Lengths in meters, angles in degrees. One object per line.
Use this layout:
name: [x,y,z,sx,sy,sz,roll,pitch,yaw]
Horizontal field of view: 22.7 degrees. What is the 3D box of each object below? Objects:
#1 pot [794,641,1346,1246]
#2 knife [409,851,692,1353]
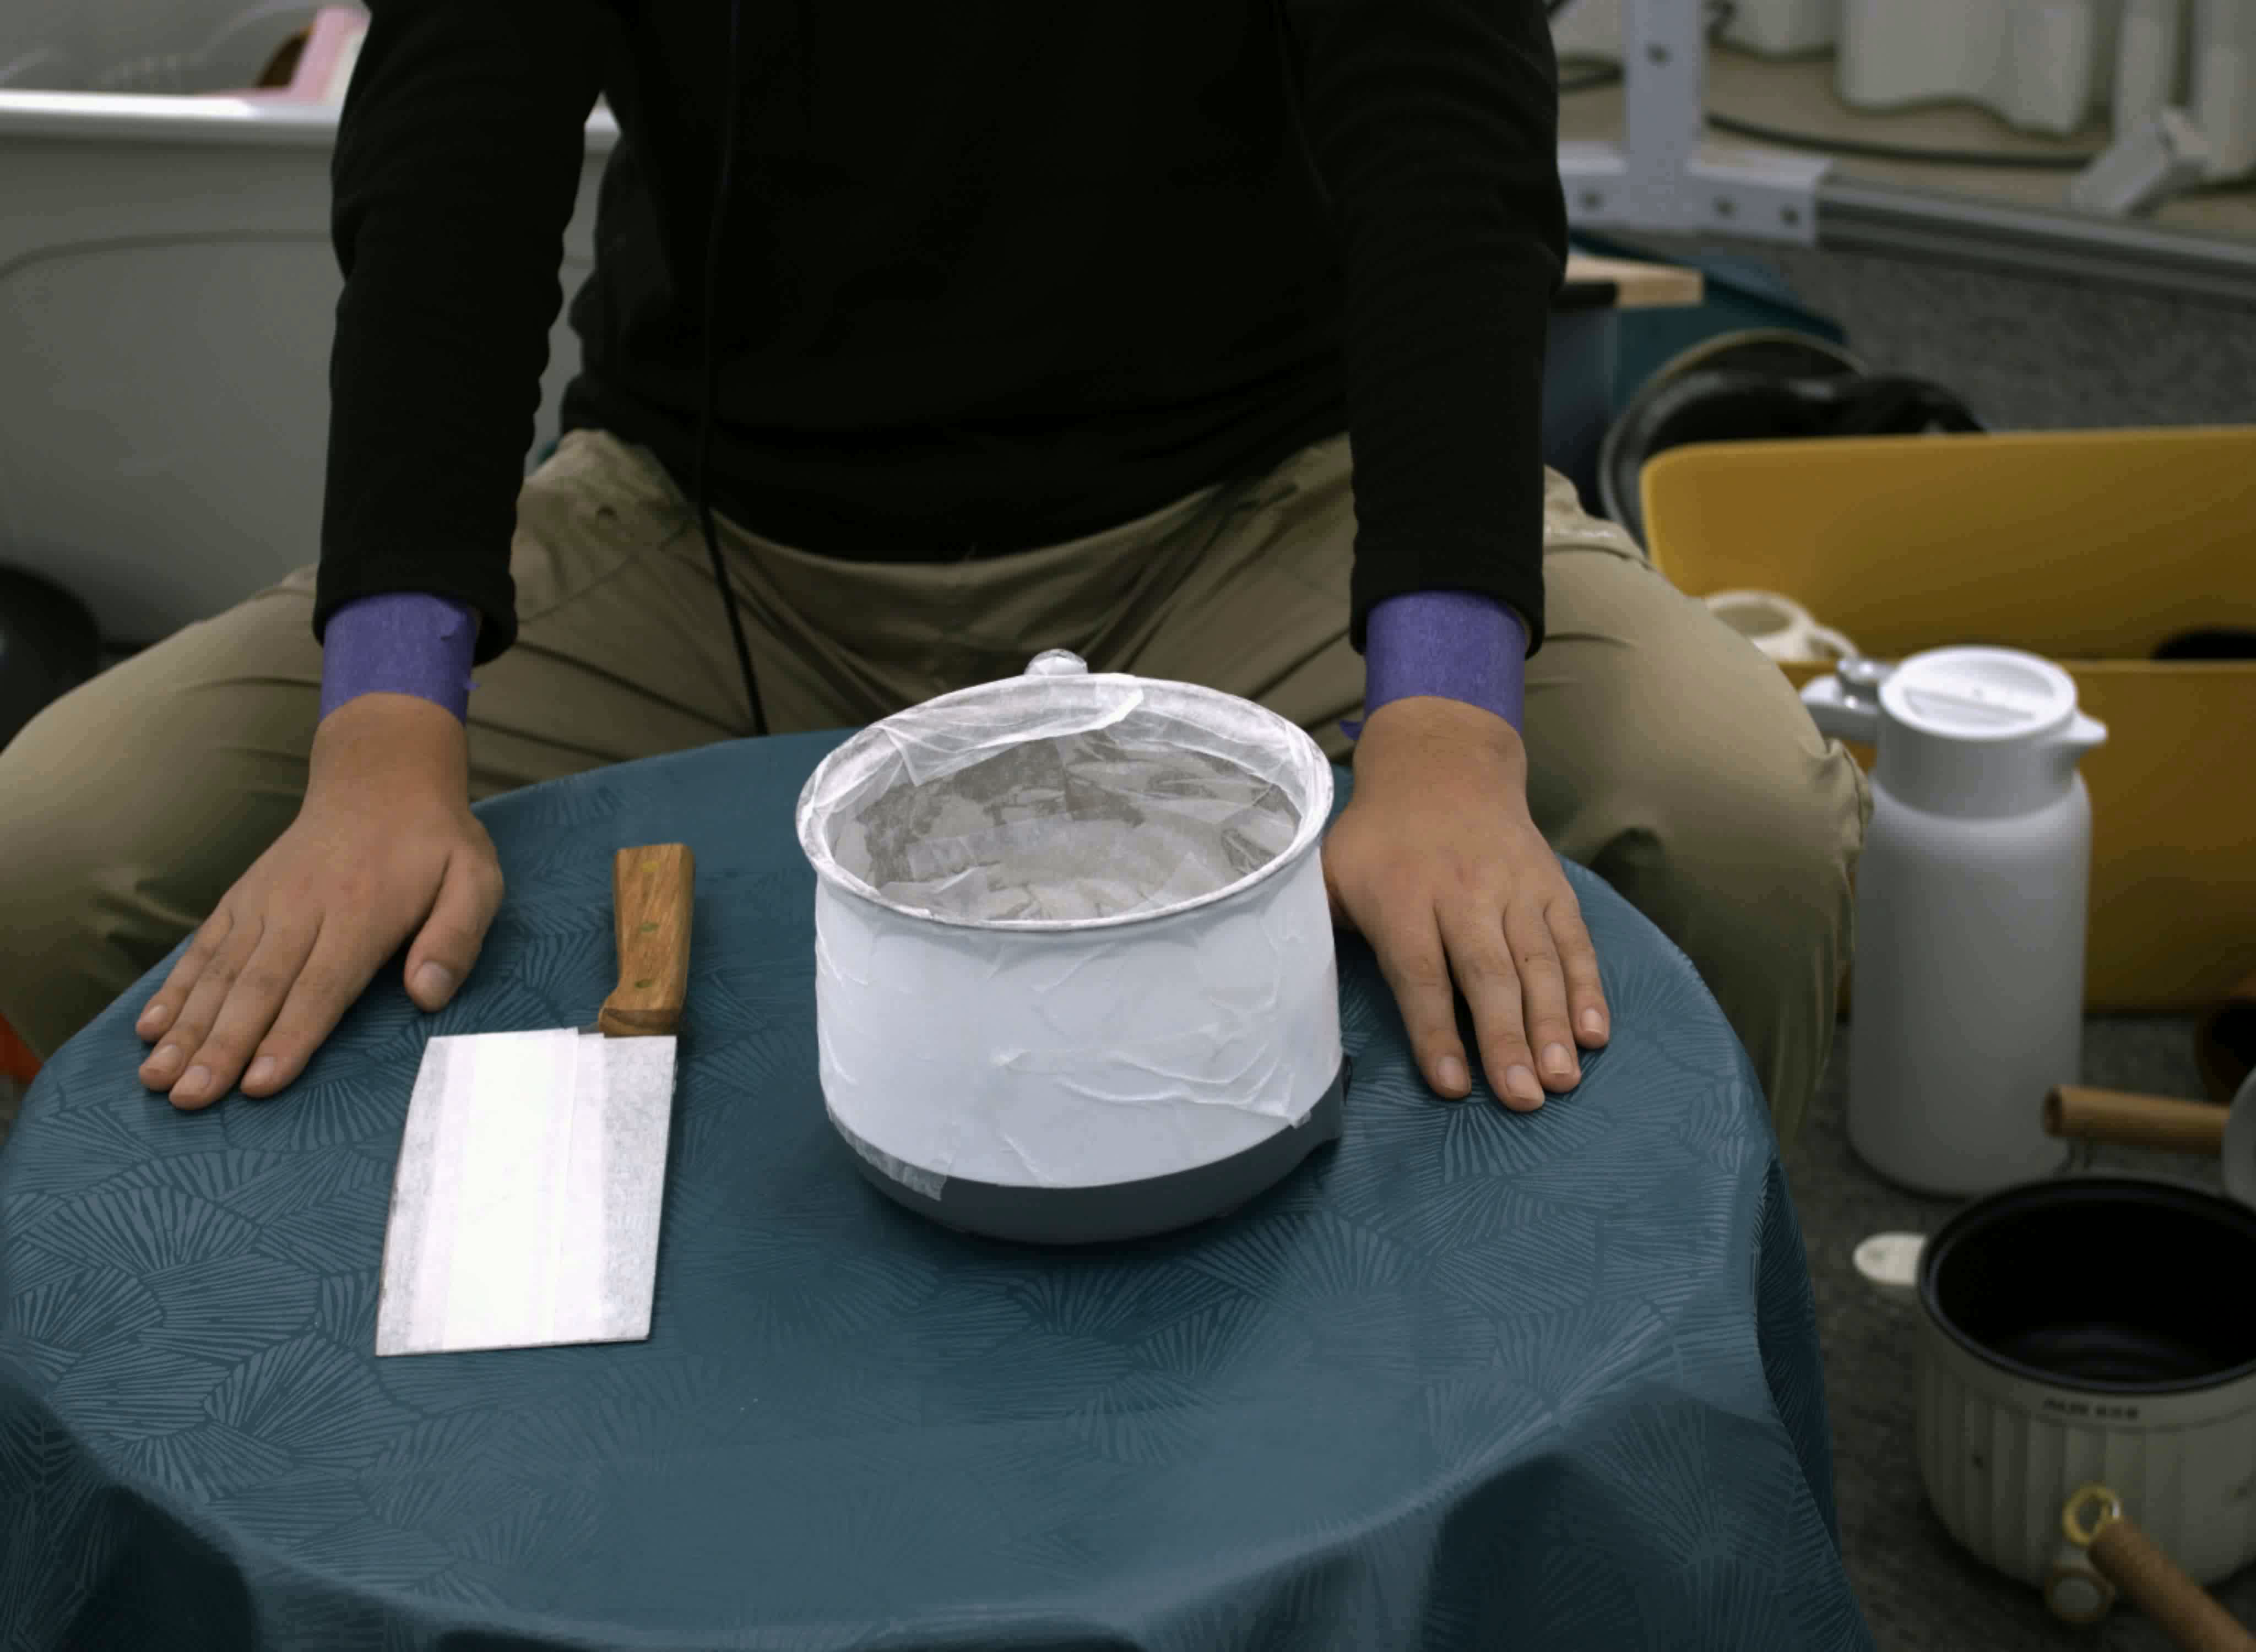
pot: [-0.020,0.032,1.884,0.178,0.135,0.237,-4,28,-3]
knife: [-0.198,0.092,1.921,0.092,0.021,0.310,-3,29,0]
